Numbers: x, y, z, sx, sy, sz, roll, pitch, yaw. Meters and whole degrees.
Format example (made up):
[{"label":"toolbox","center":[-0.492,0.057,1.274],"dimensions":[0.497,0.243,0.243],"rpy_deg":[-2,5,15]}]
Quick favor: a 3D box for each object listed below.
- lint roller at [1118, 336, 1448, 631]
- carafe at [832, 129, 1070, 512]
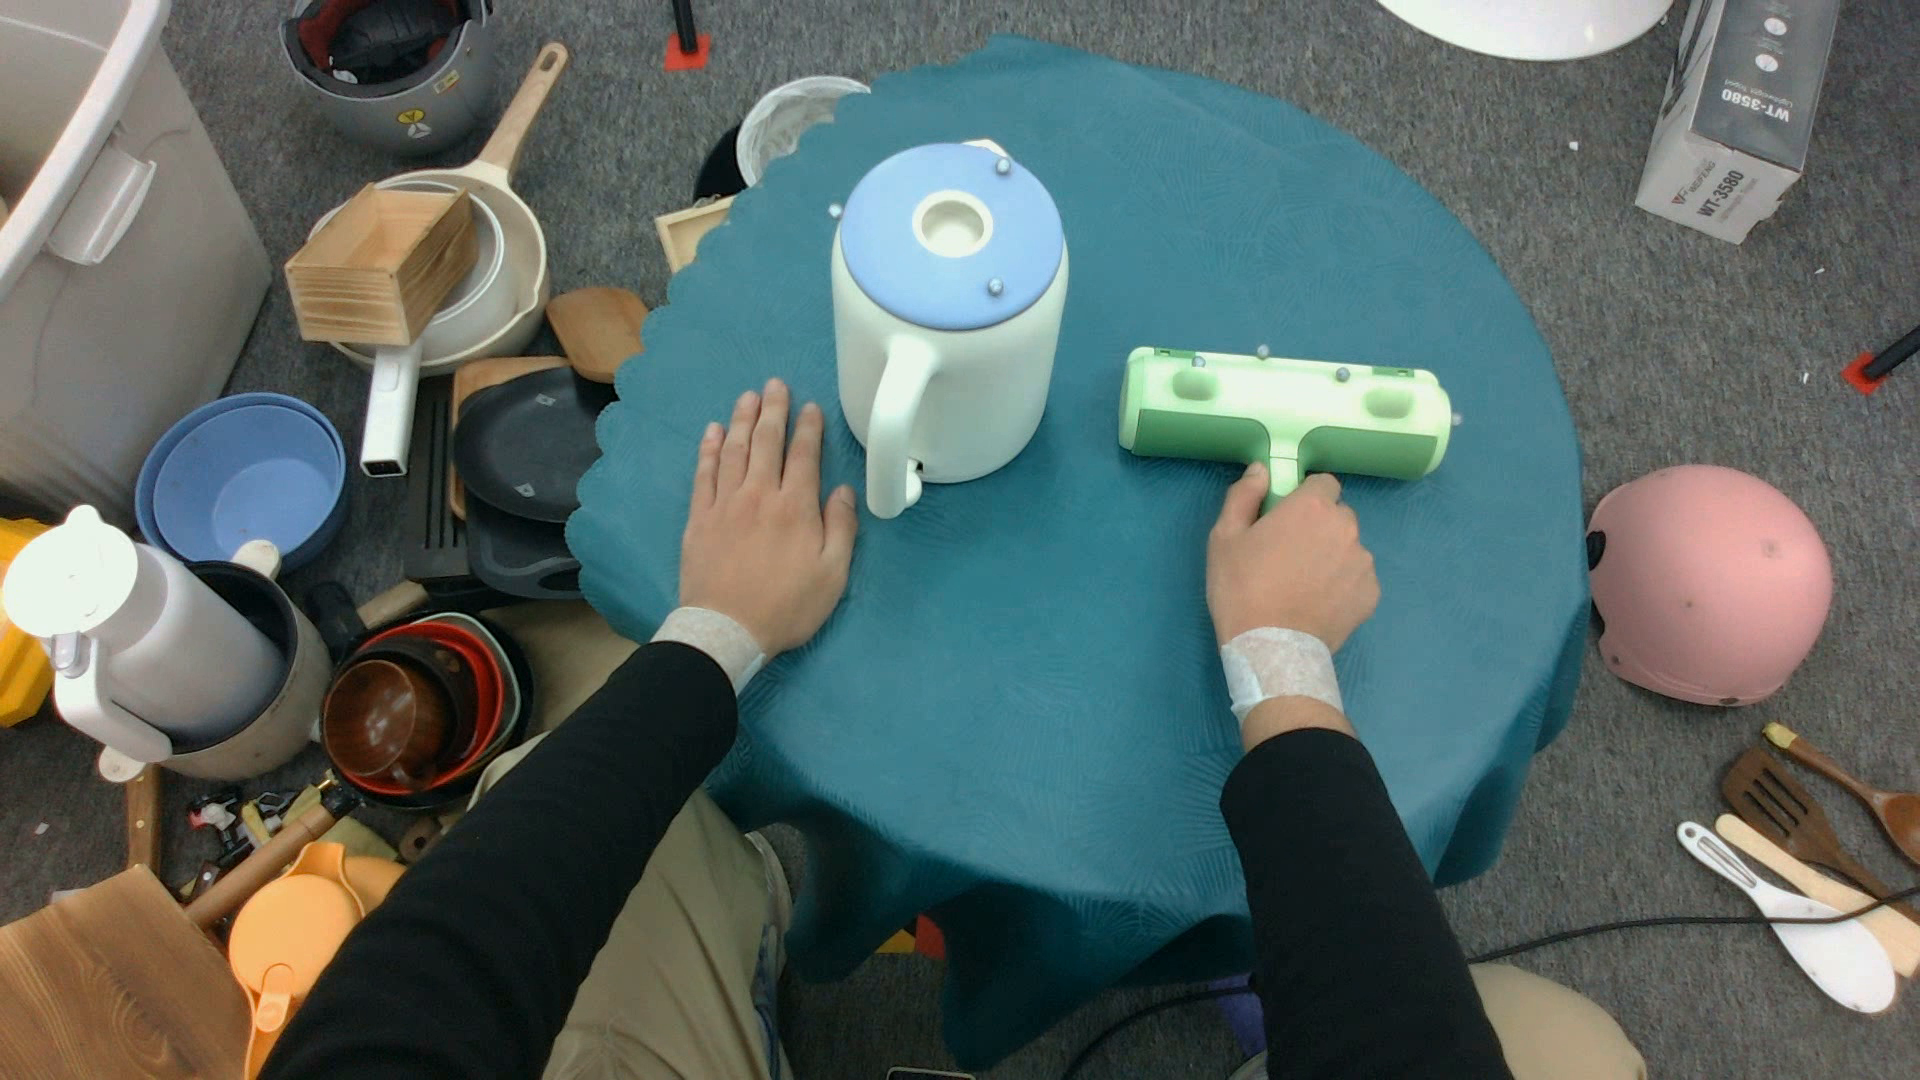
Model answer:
[{"label":"lint roller","center":[0.193,-0.042,0.815],"dimensions":[0.198,0.082,0.184],"rpy_deg":[6,56,1]},{"label":"carafe","center":[-0.014,-0.111,0.790],"dimensions":[0.132,0.182,0.192],"rpy_deg":[15,67,5]}]
